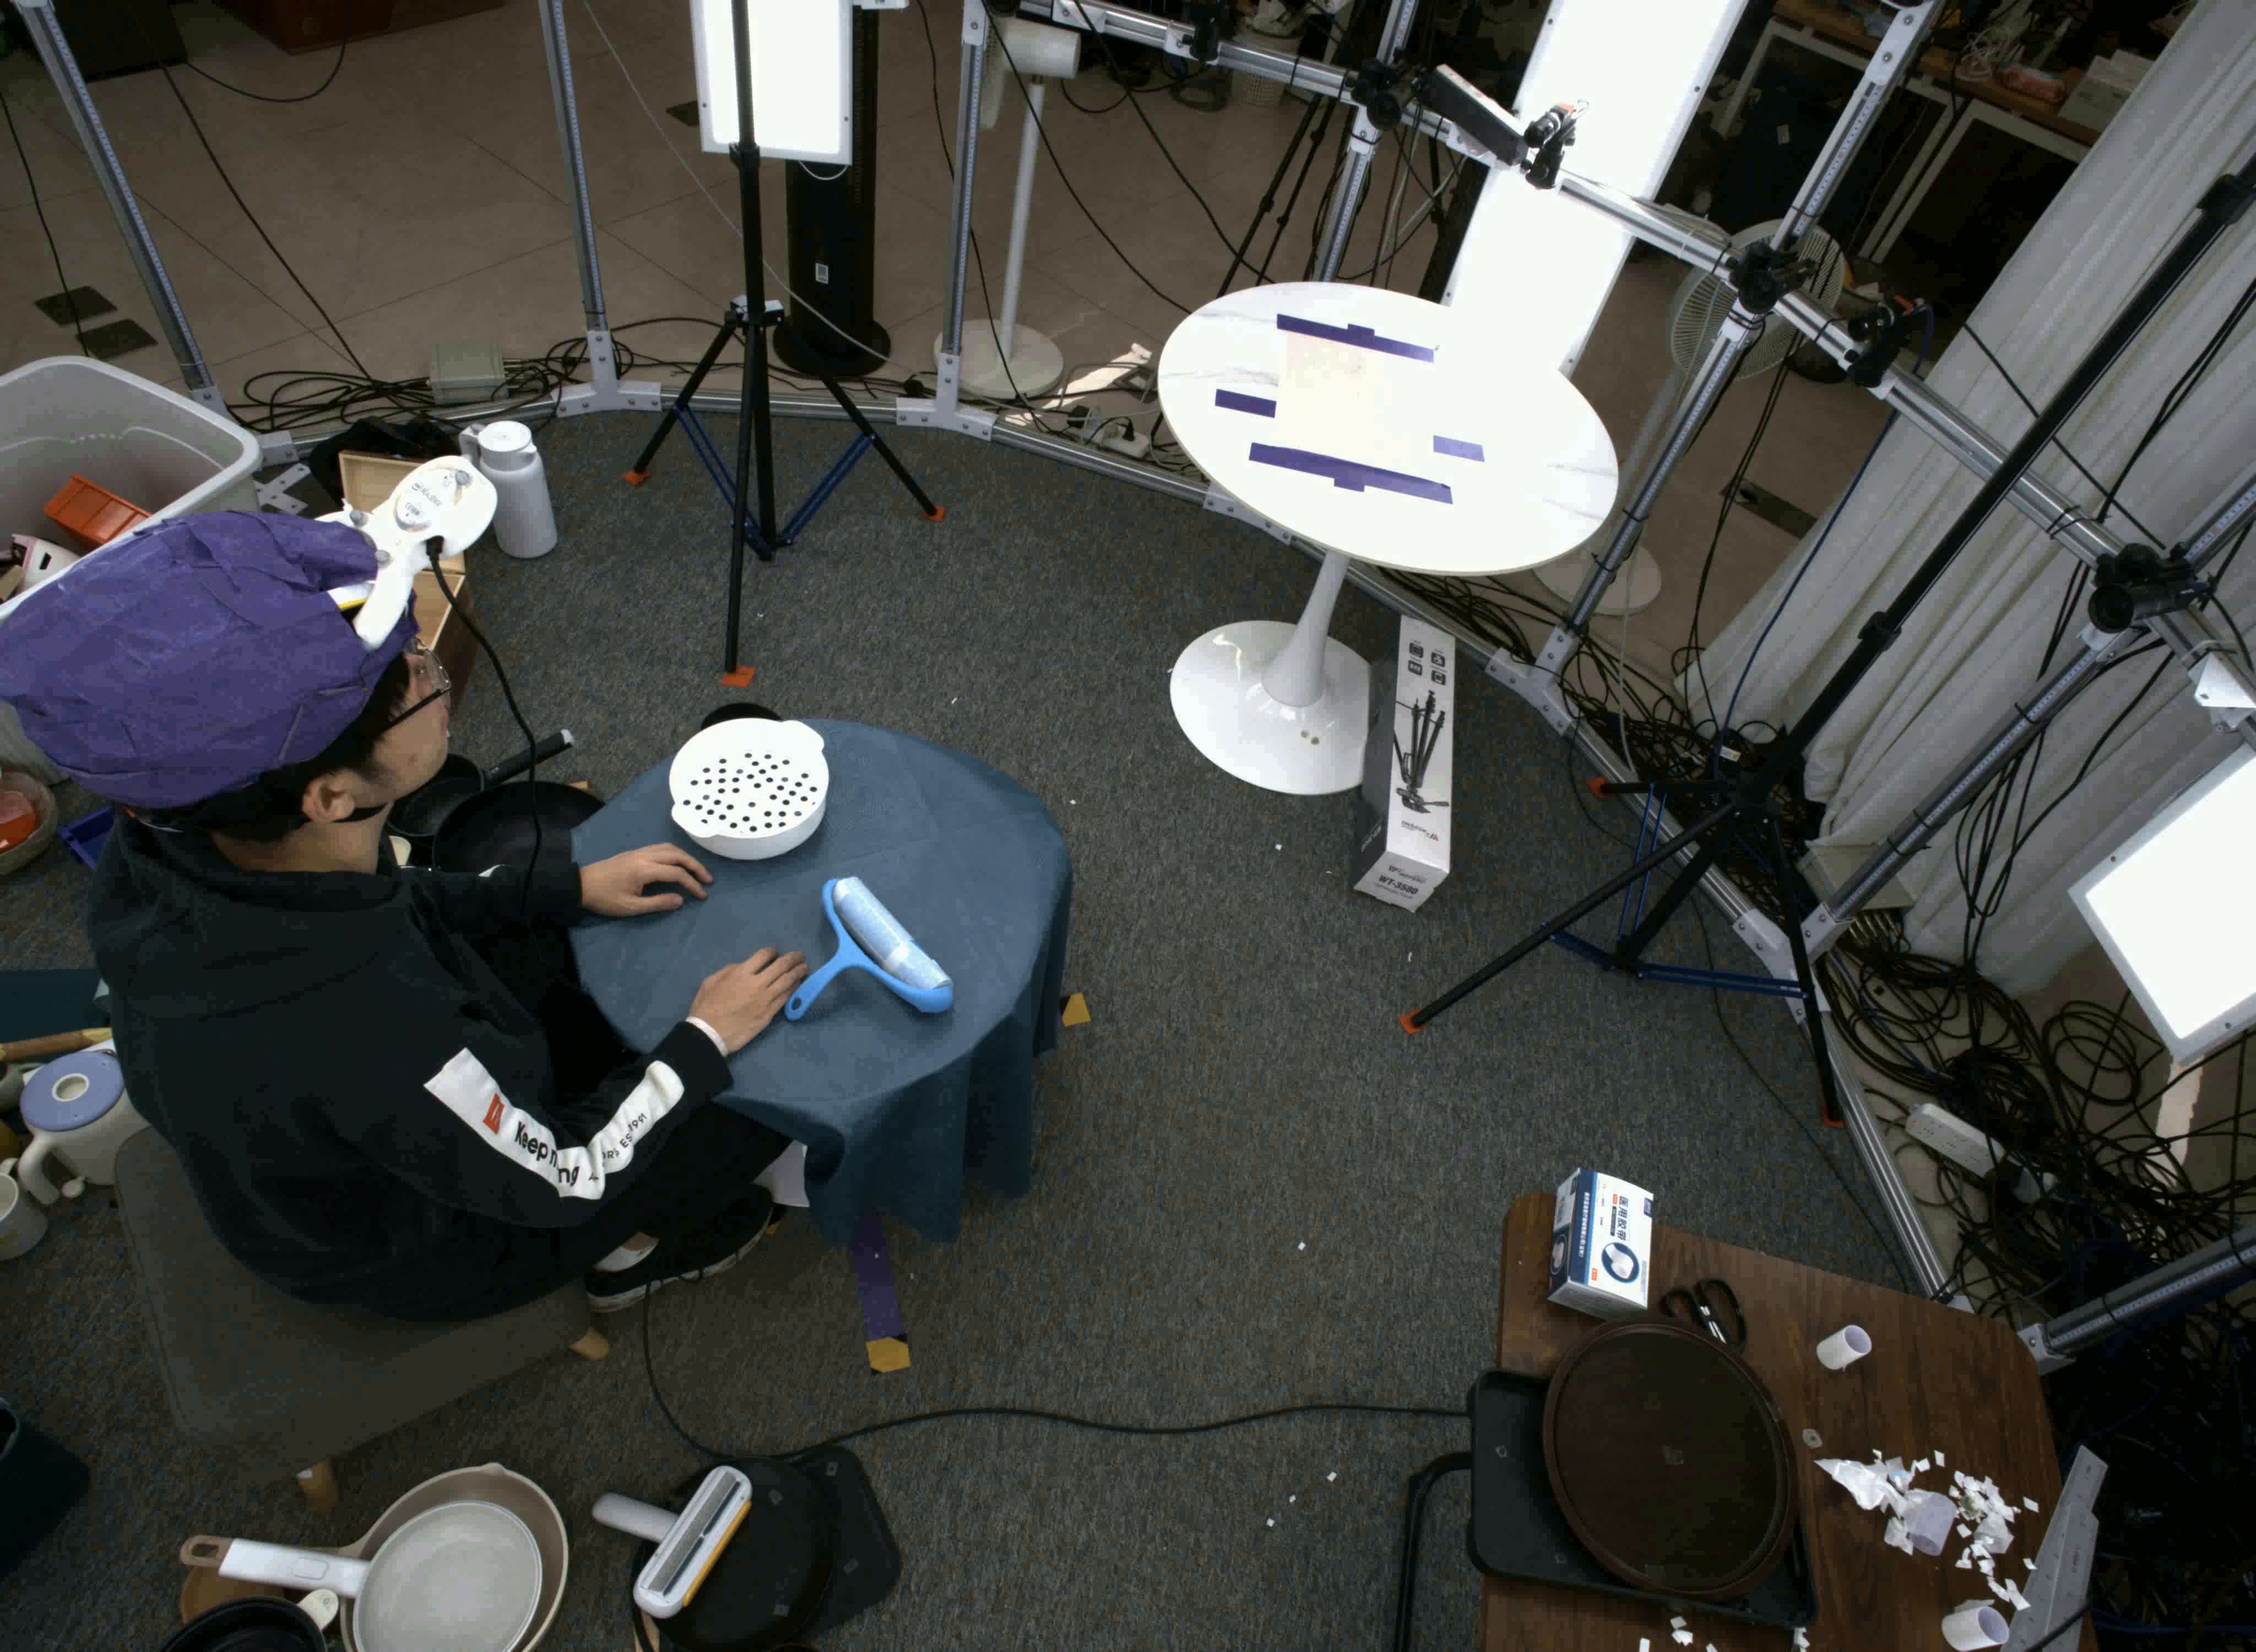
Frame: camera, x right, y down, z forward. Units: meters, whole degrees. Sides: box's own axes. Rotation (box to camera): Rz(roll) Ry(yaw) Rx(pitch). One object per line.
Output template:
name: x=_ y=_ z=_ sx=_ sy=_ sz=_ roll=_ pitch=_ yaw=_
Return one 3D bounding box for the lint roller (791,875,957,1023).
lint roller: x=-0.336 y=0.171 z=1.592 sx=0.225 sy=0.069 sz=0.180 roll=42 pitch=54 yaw=14

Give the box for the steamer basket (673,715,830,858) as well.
steamer basket: x=-0.494 y=-0.051 z=1.705 sx=0.198 sy=0.070 sz=0.230 roll=34 pitch=54 yaw=12
